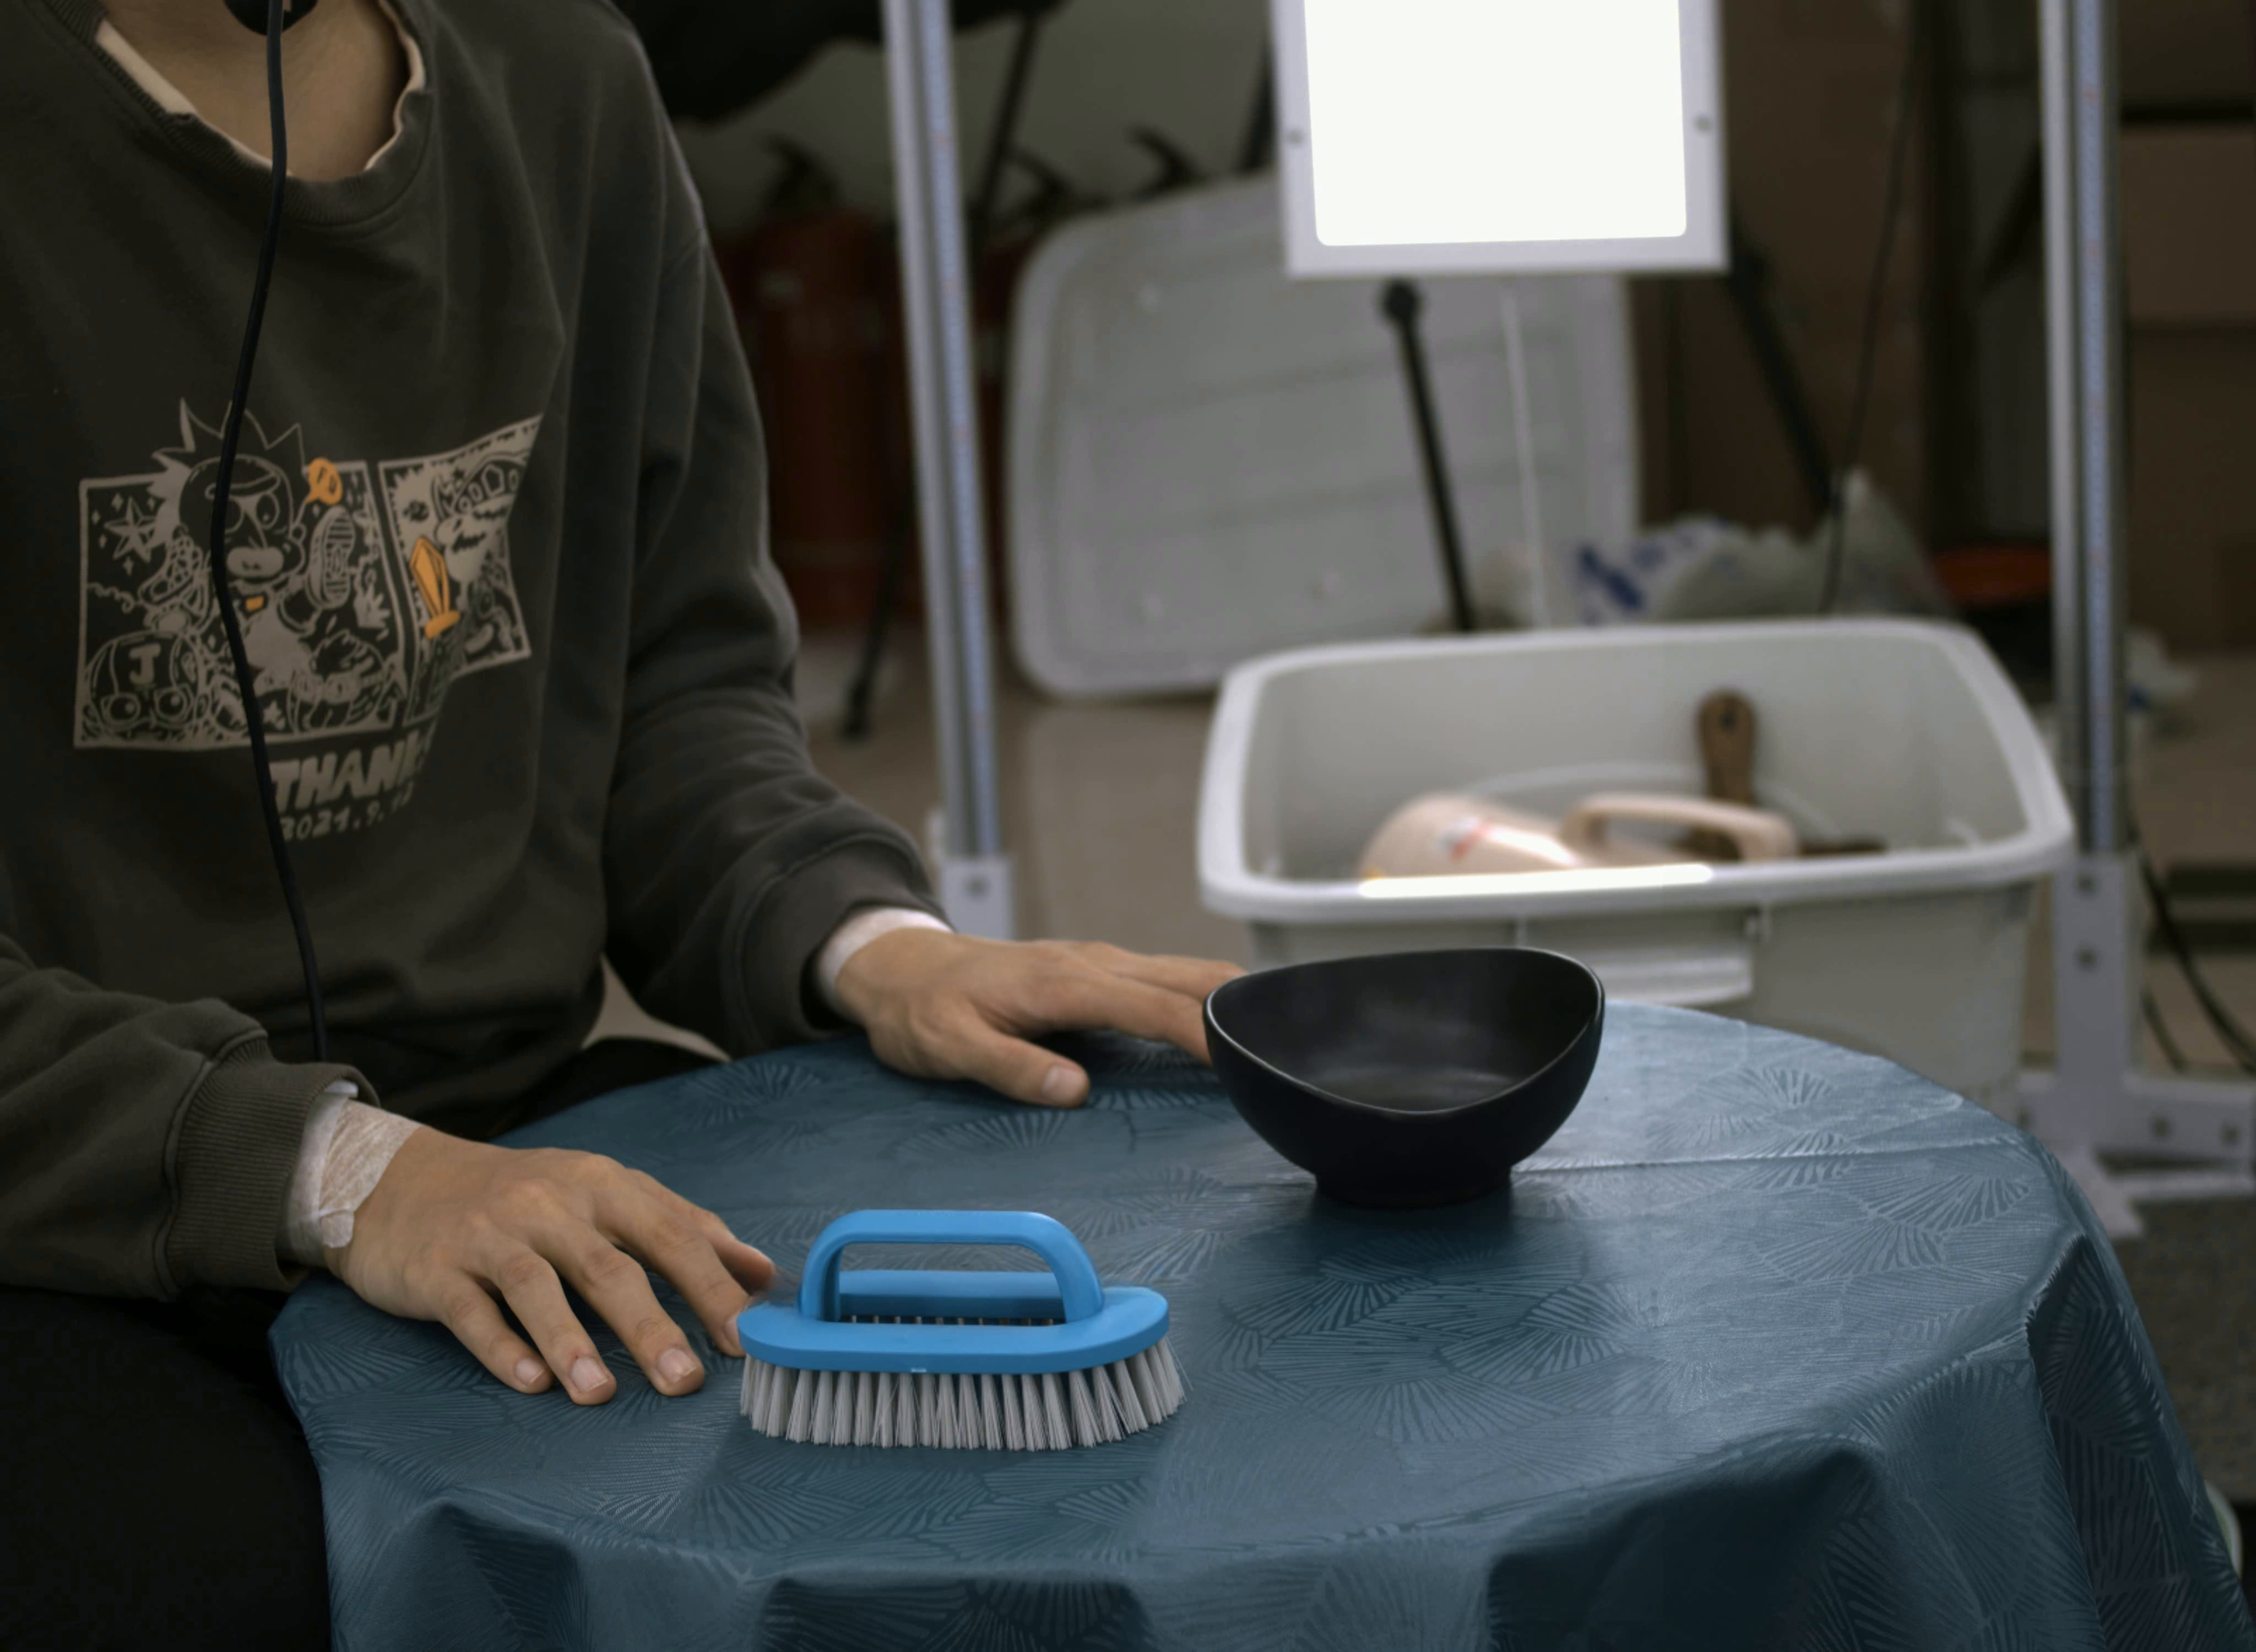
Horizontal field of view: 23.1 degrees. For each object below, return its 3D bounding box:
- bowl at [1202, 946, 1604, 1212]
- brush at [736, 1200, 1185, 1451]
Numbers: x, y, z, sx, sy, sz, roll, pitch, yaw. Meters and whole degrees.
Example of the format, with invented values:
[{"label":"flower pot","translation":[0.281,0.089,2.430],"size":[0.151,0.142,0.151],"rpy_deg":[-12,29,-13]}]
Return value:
[{"label":"bowl","translation":[0.097,0.090,1.878],"size":[0.136,0.067,0.170],"rpy_deg":[-7,16,-4]},{"label":"brush","translation":[-0.055,0.147,1.697],"size":[0.144,0.064,0.083],"rpy_deg":[-1,19,20]}]
